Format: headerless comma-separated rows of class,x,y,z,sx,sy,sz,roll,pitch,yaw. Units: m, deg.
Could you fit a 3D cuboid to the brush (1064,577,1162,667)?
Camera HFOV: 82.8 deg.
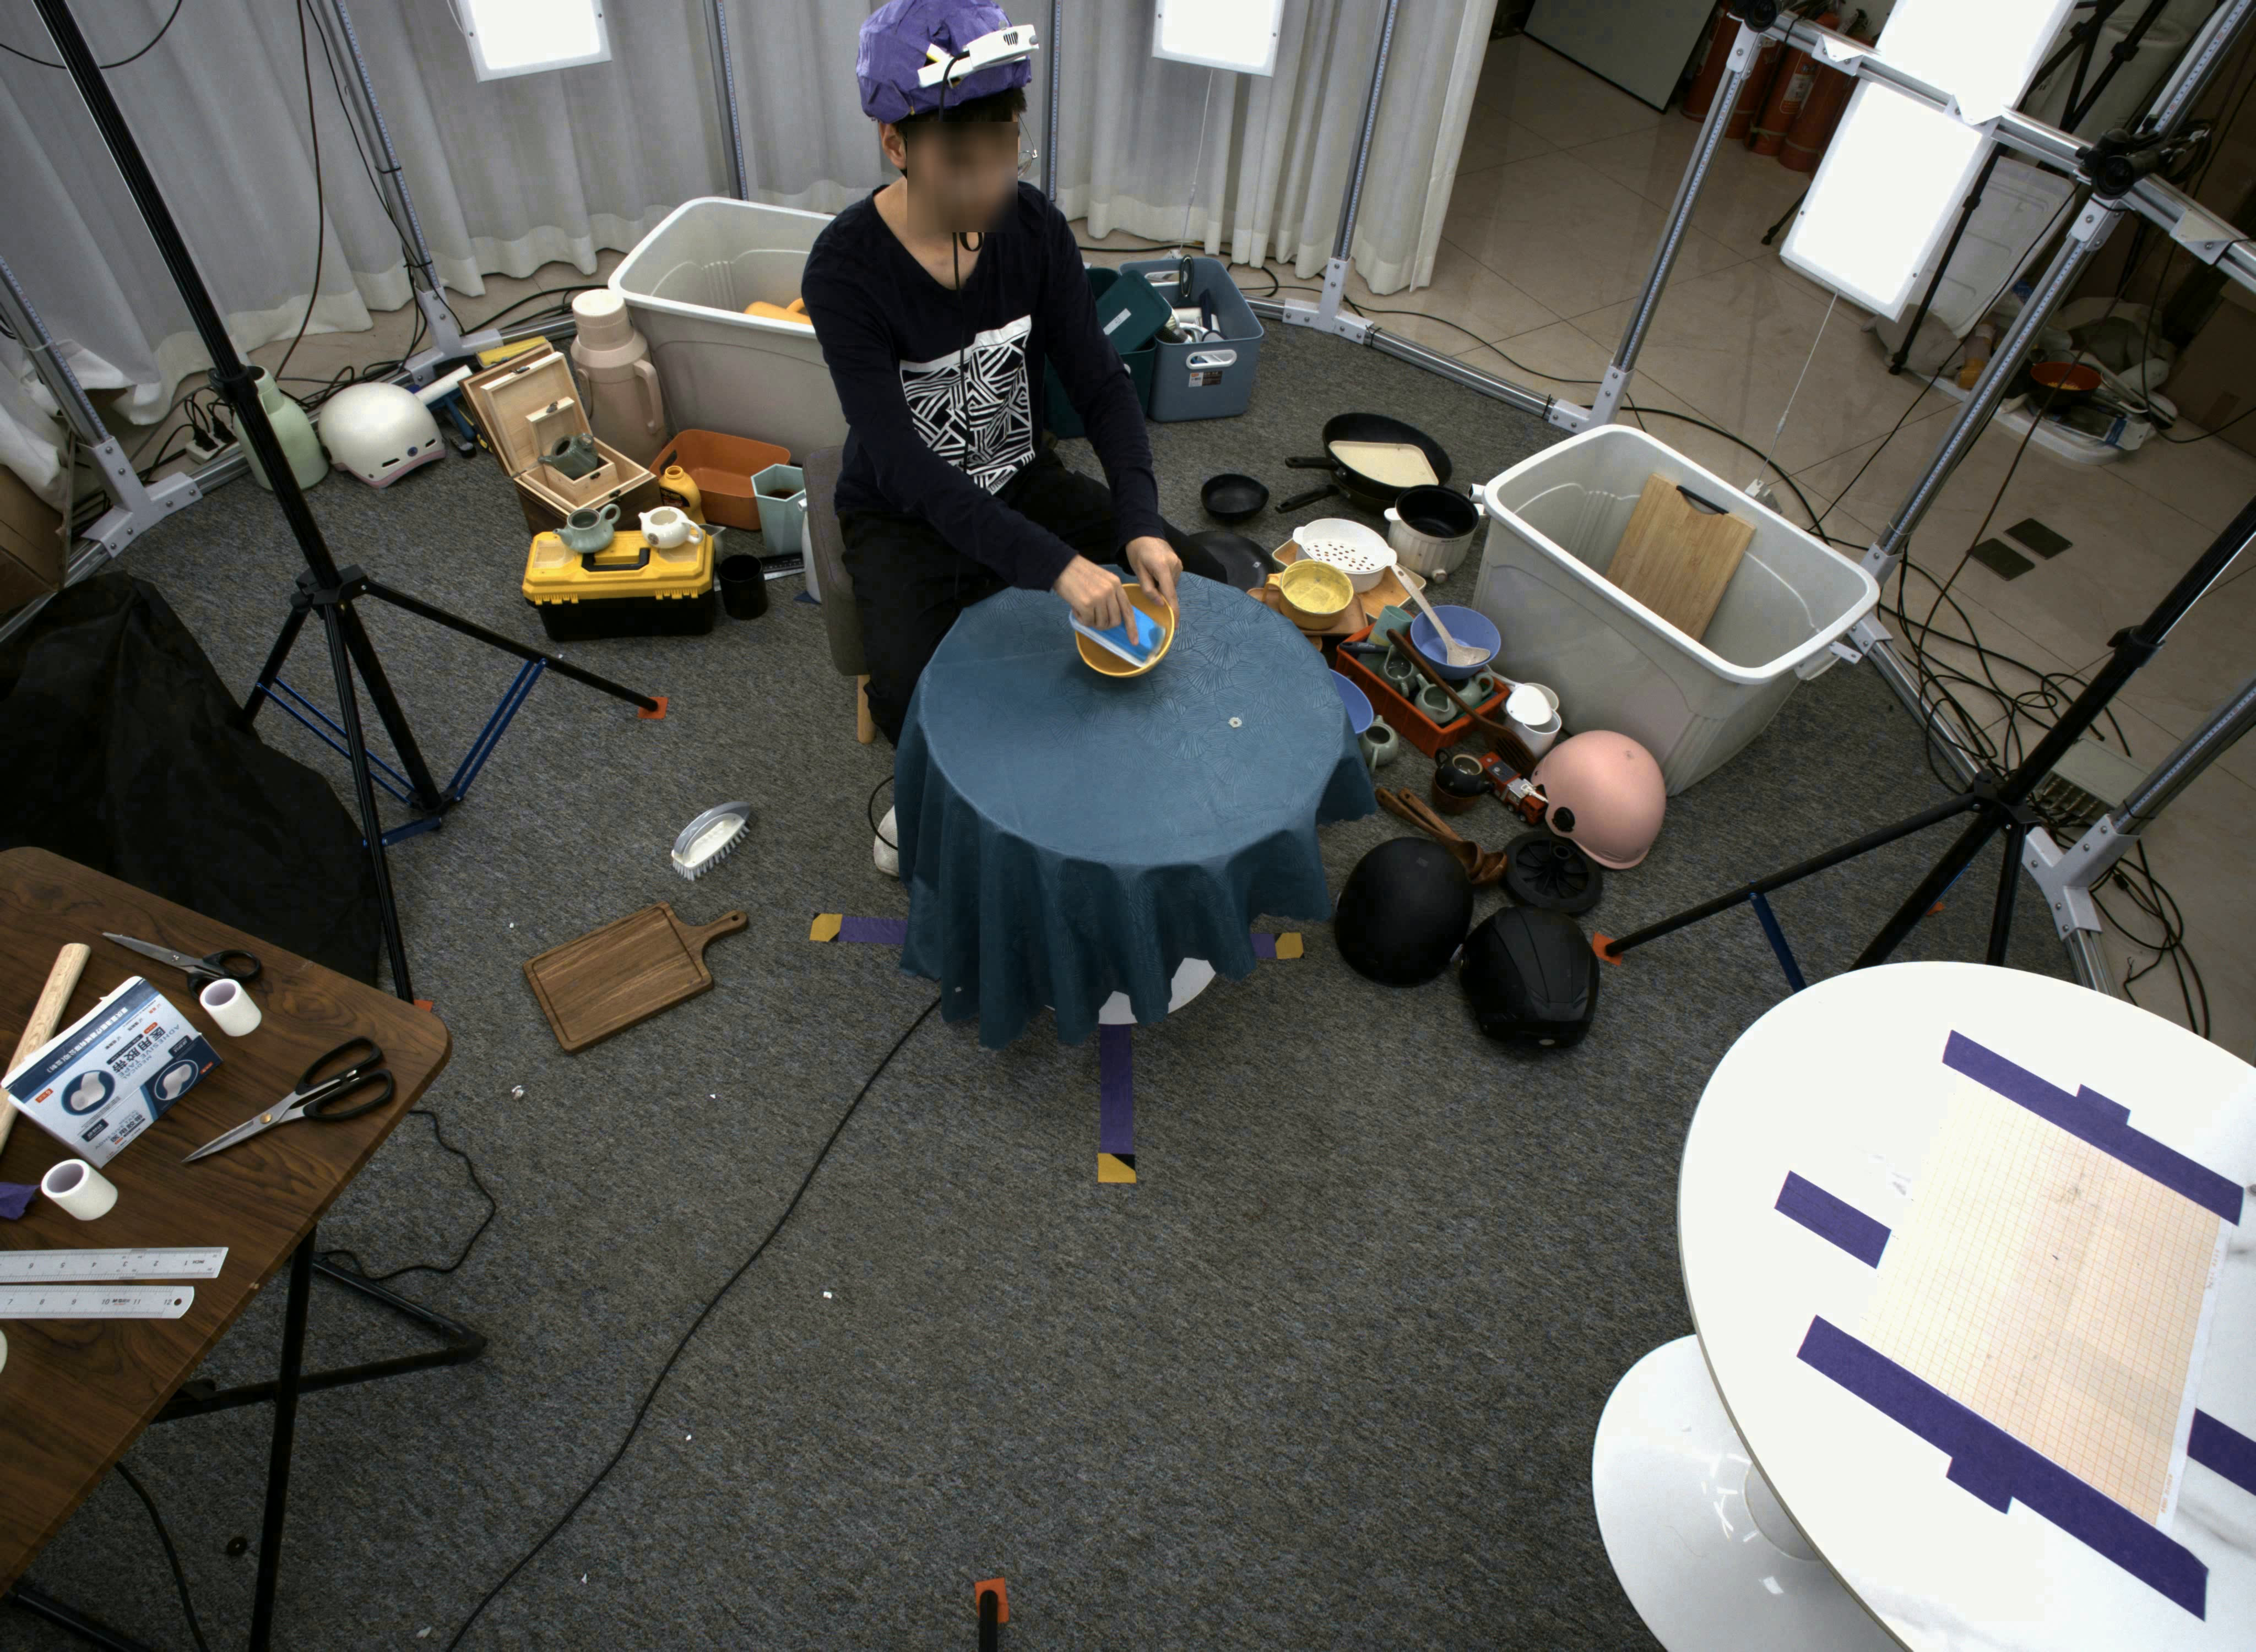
brush,-0.014,-0.293,1.812,0.143,0.055,0.085,34,61,-9

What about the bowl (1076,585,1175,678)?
bowl,0.001,-0.270,1.850,0.145,0.059,0.148,-5,66,11
